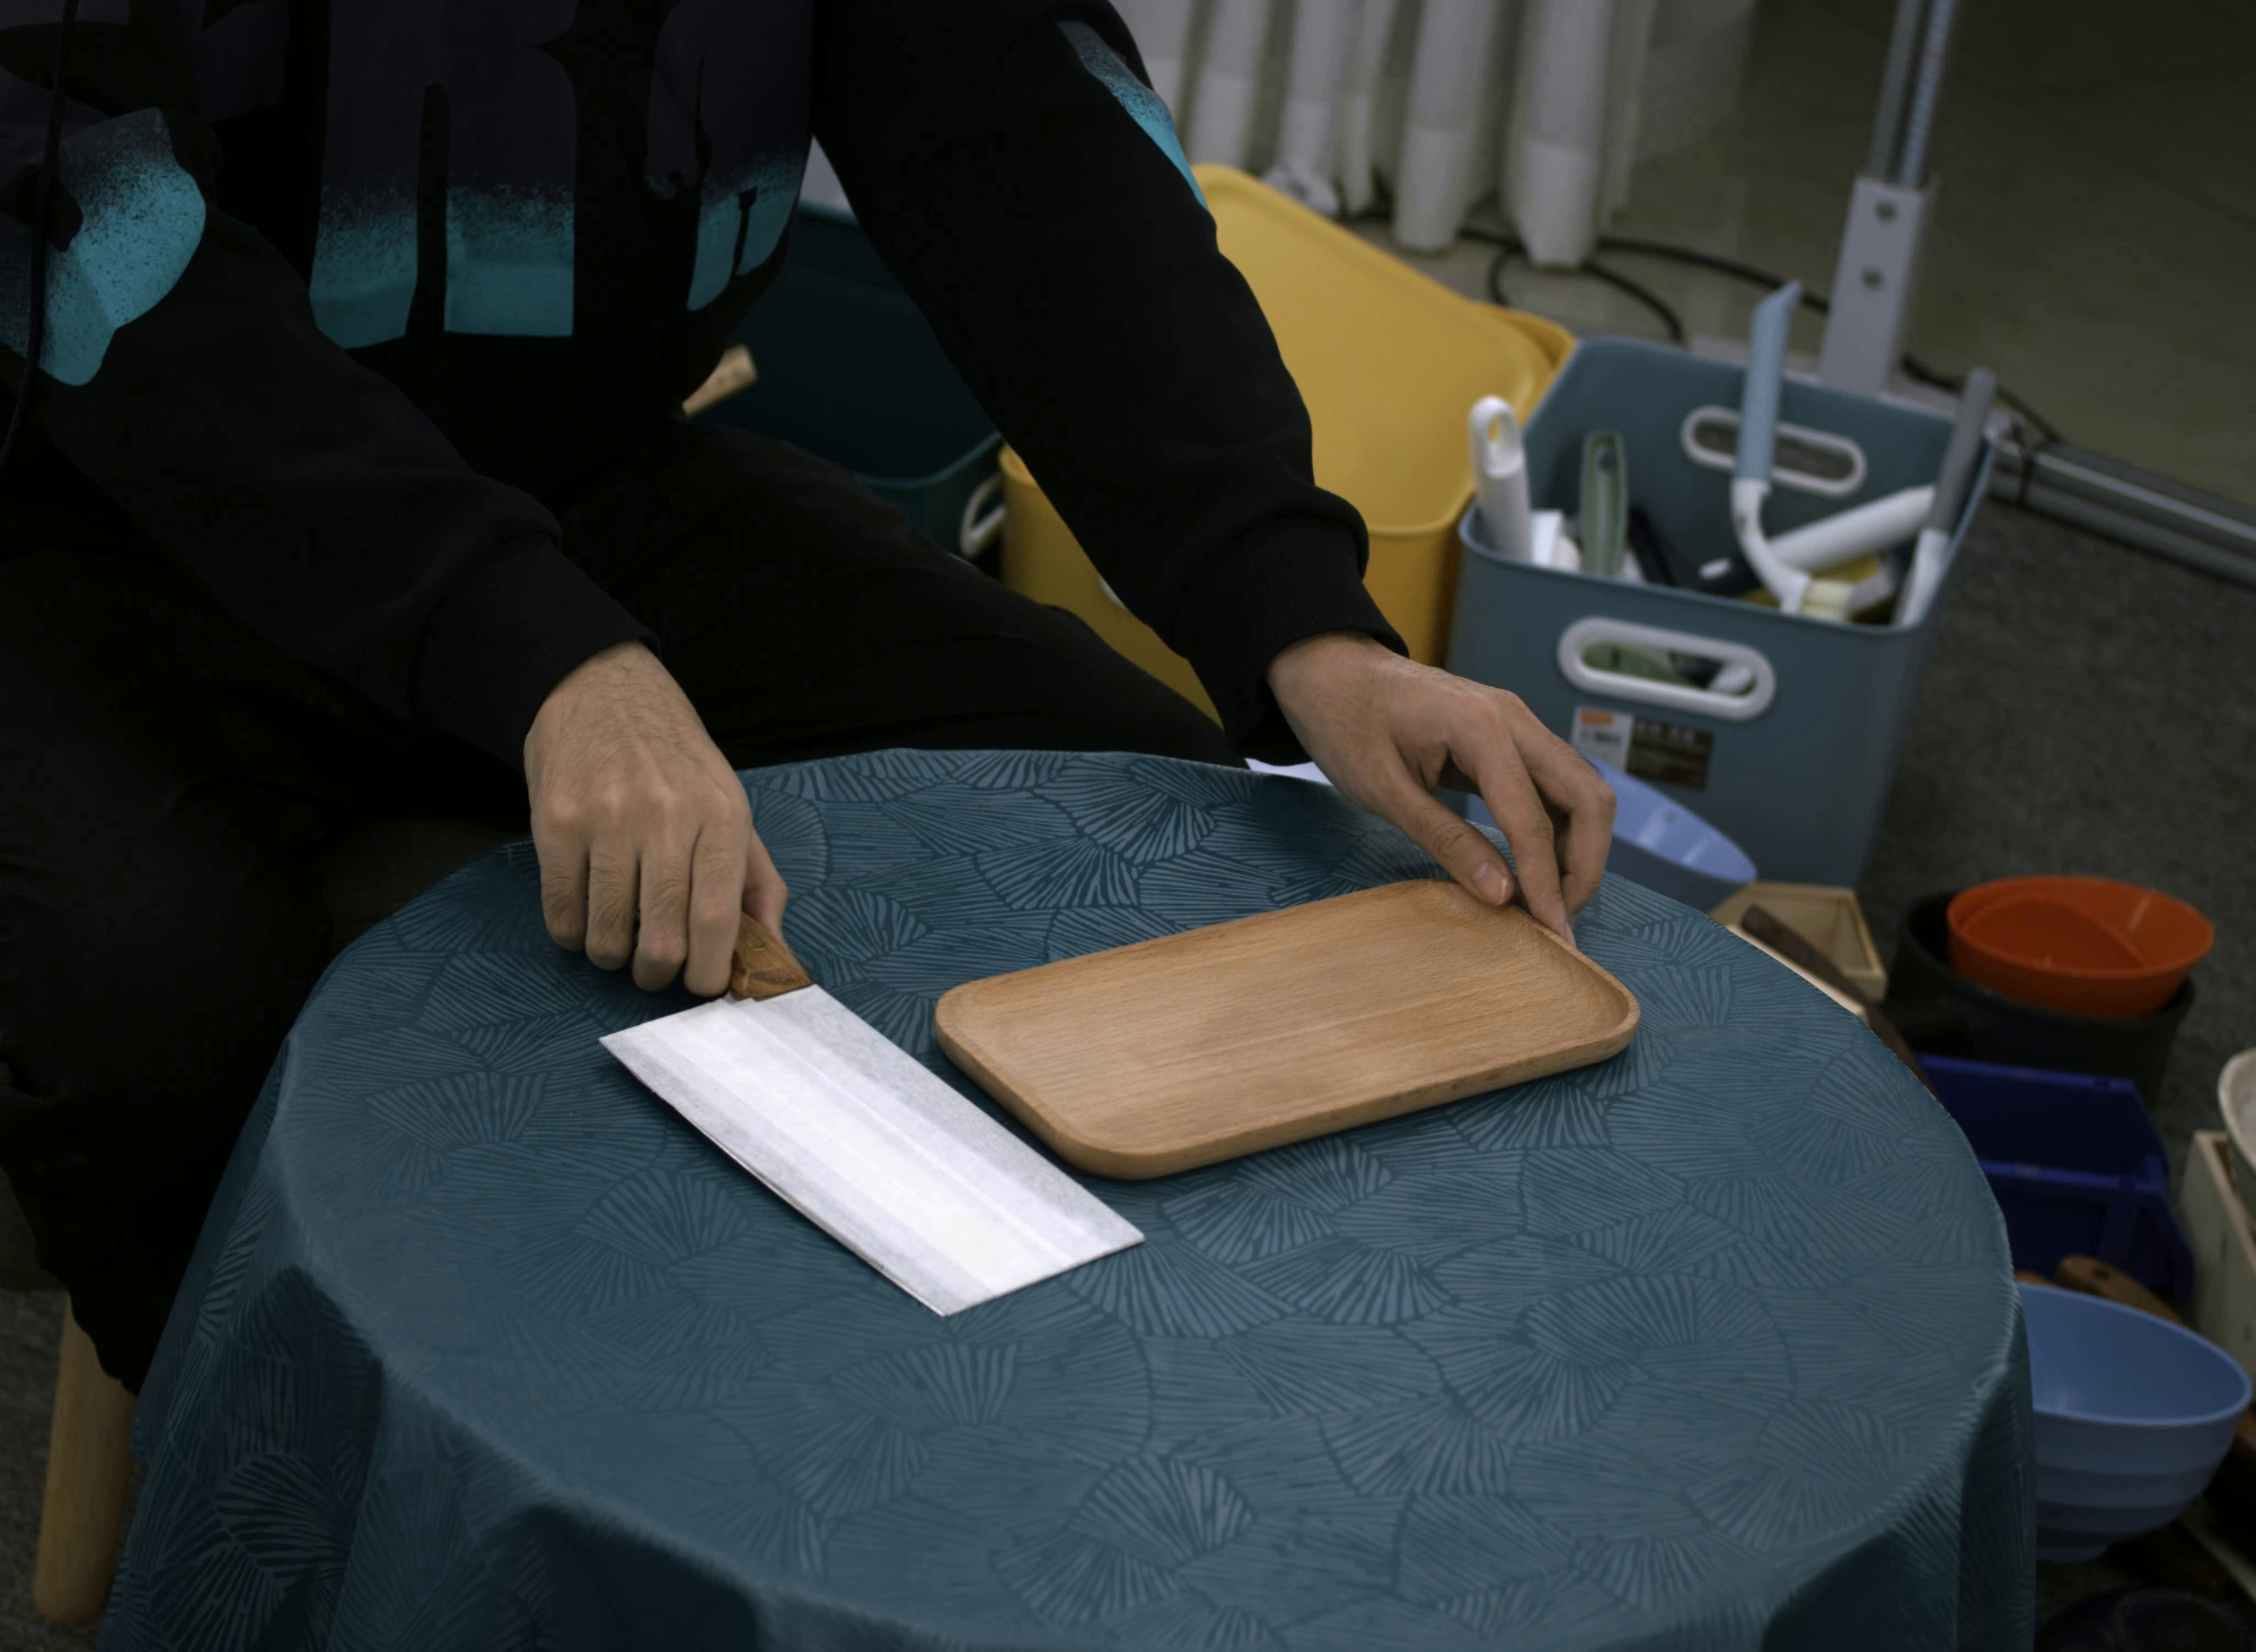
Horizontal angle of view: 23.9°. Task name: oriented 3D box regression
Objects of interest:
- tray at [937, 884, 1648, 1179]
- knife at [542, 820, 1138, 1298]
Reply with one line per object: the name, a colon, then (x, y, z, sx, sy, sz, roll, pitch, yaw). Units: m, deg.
tray: (0.060, 0.072, 1.900, 0.249, 0.023, 0.132, -10, 33, -31)
knife: (-0.124, 0.080, 1.843, 0.092, 0.021, 0.308, -18, 38, -37)
